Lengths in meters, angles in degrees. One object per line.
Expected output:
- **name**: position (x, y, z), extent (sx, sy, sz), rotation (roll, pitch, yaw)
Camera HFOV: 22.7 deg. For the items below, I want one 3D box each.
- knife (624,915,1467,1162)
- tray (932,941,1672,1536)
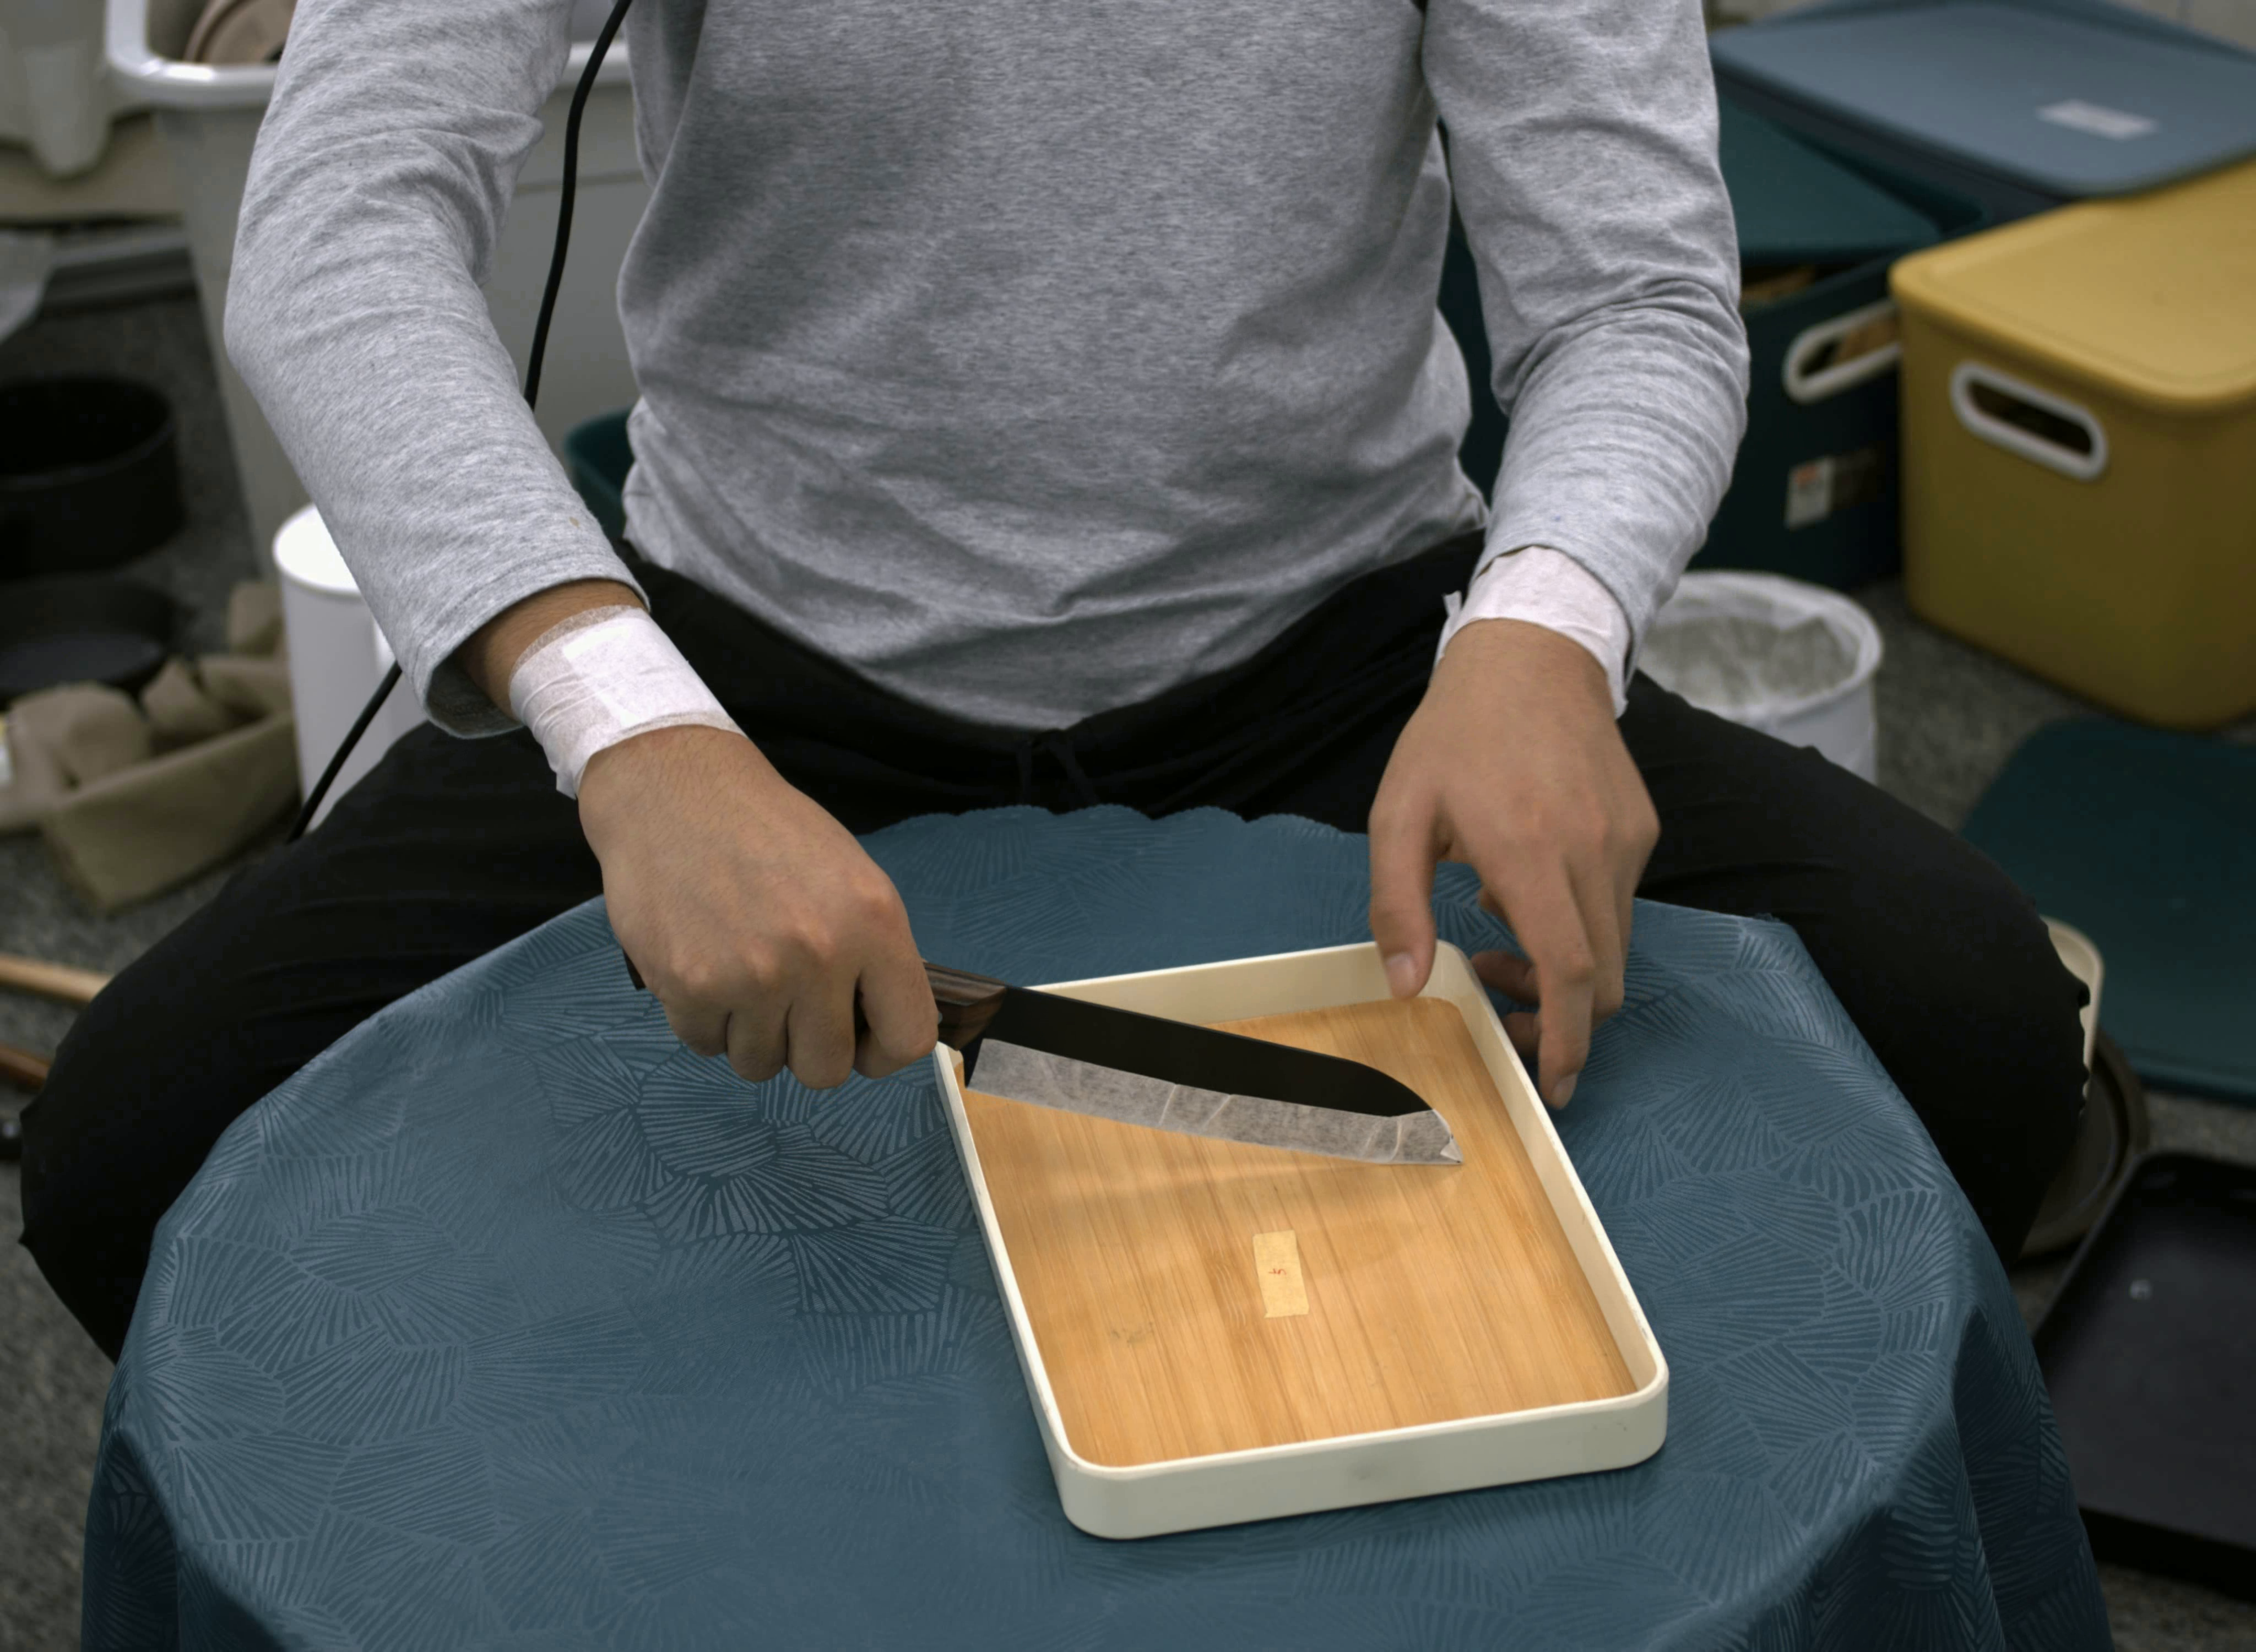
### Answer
- **knife**: position (-0.026, 0.072, 1.837), extent (0.288, 0.049, 0.020), rotation (14, 32, -7)
- **tray**: position (0.050, 0.127, 1.818), extent (0.191, 0.027, 0.304), rotation (-7, 27, -8)
